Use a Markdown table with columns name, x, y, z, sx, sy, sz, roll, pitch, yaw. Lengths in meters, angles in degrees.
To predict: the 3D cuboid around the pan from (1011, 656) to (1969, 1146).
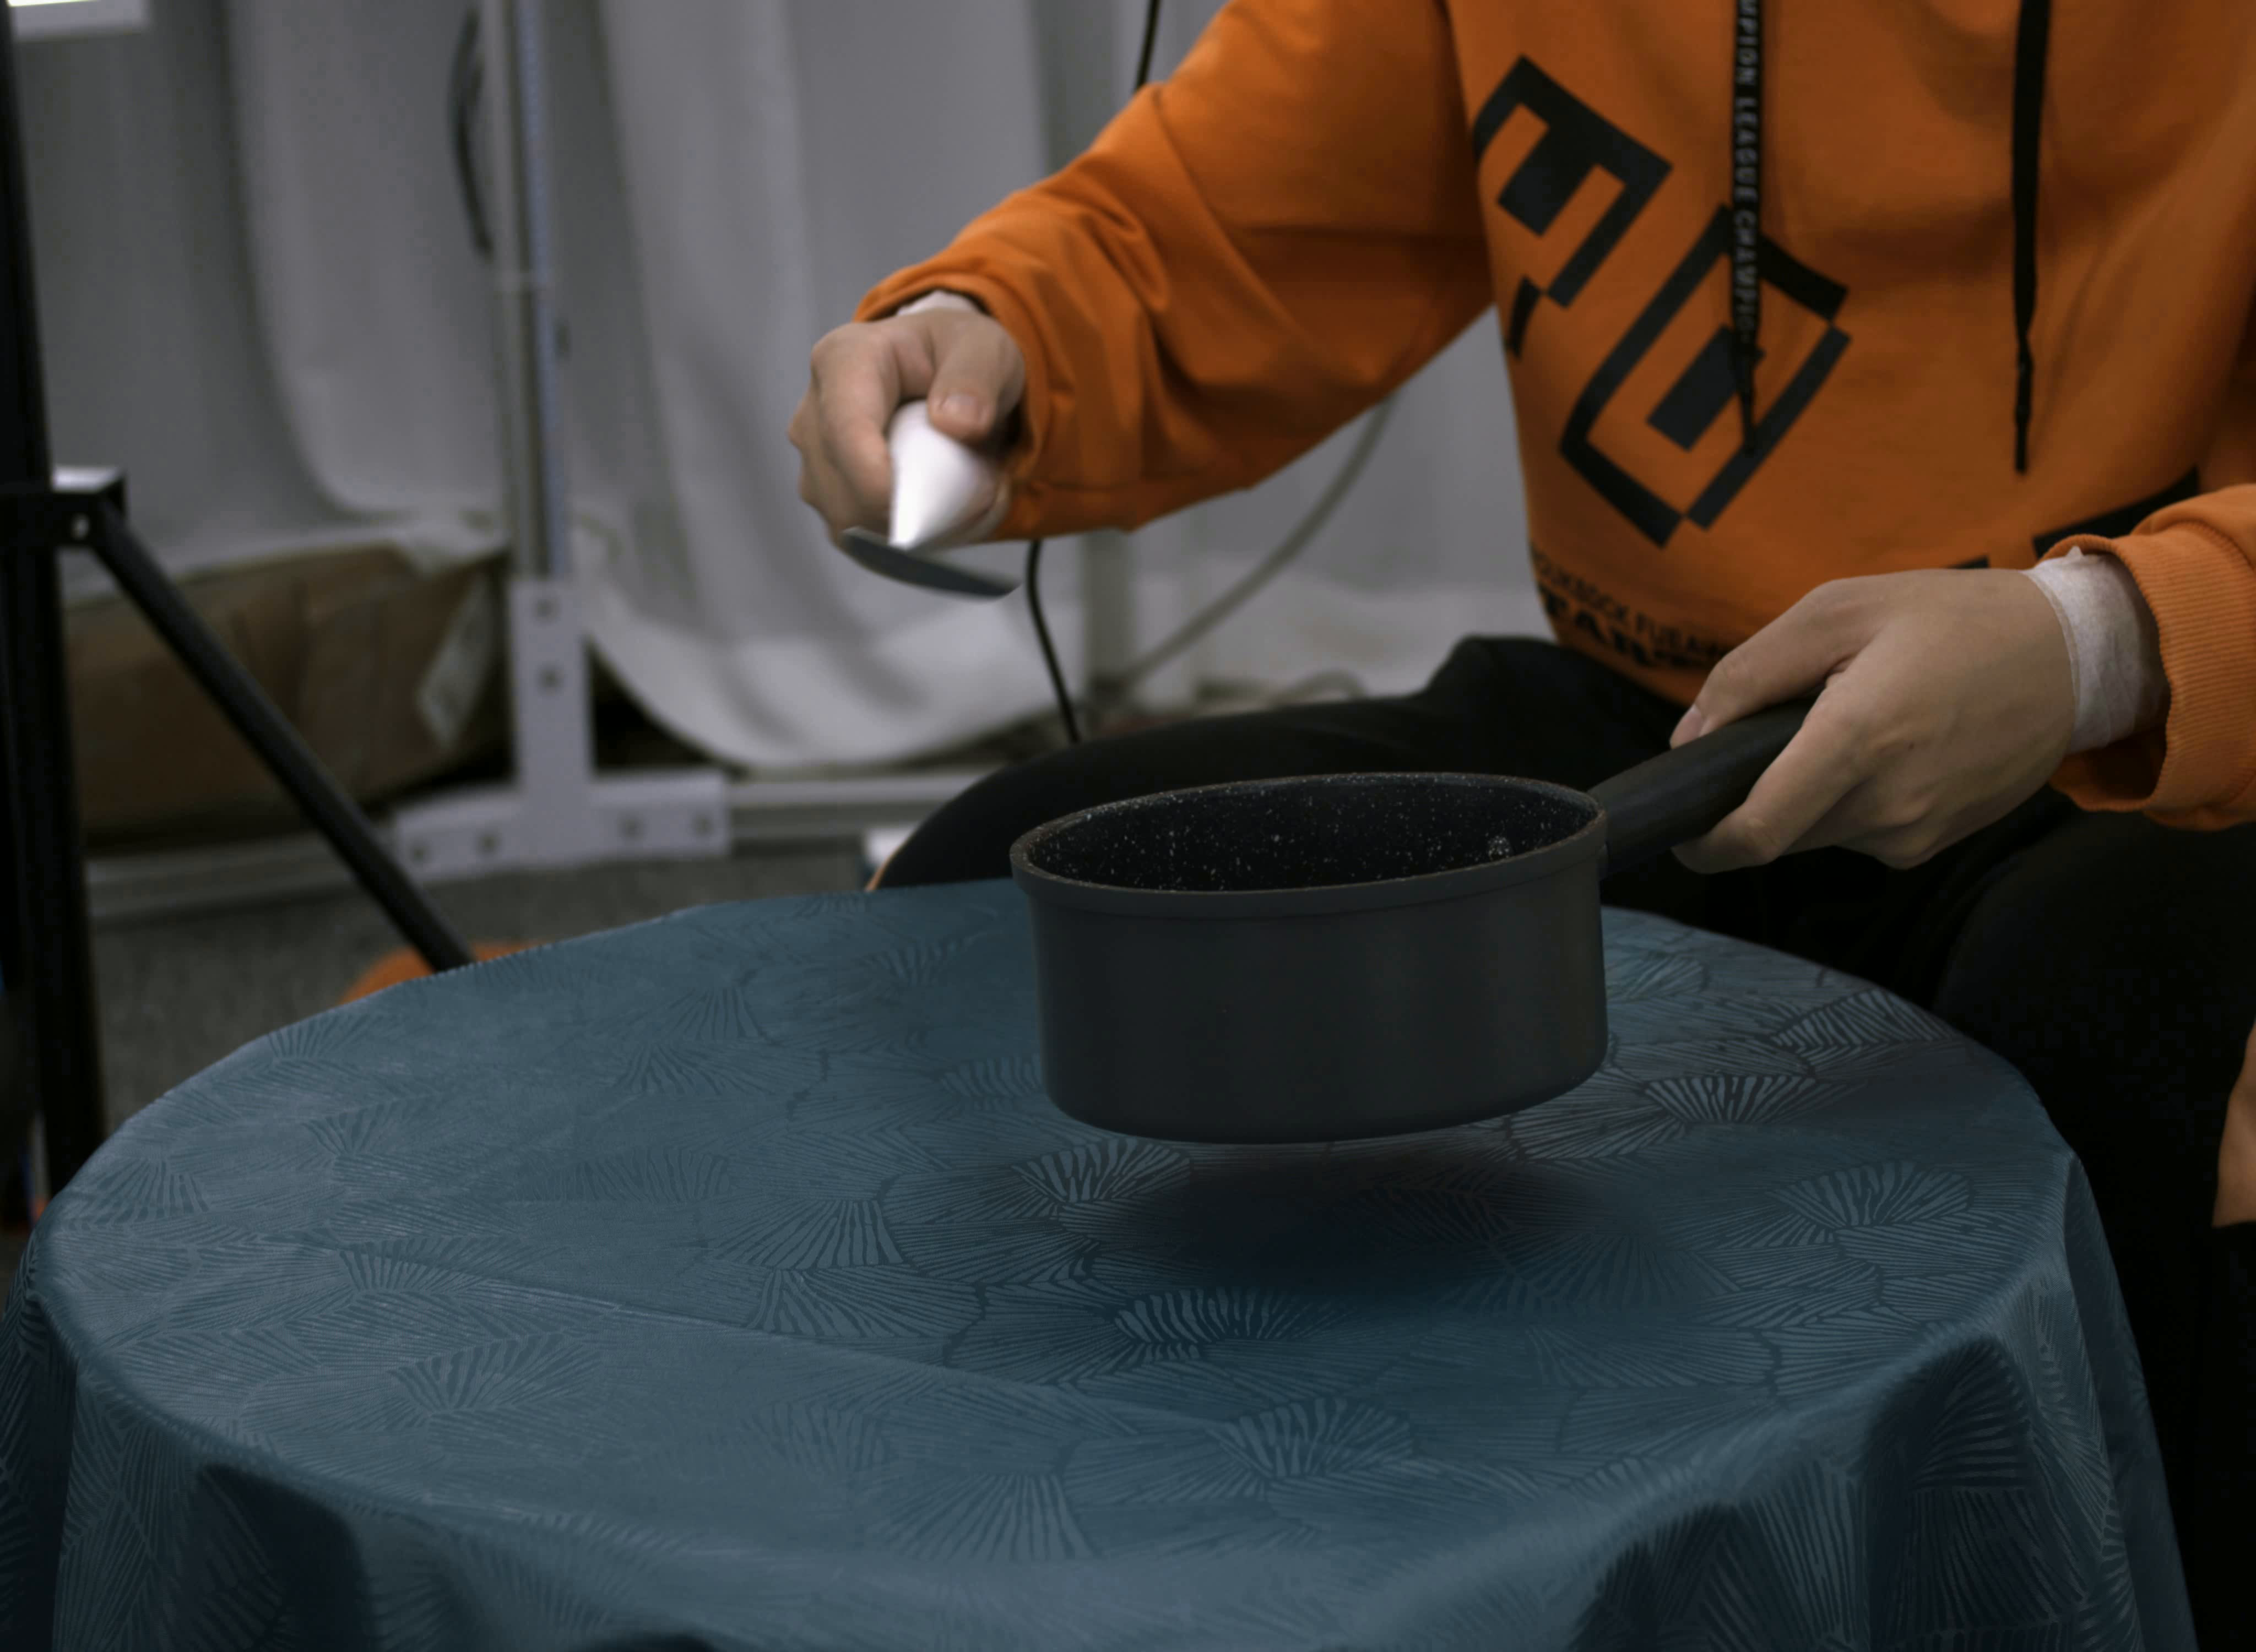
| name | x | y | z | sx | sy | sz | roll | pitch | yaw |
| --- | --- | --- | --- | --- | --- | --- | --- | --- | --- |
| pan | 0.118 | 0.021 | 1.557 | 0.321 | 0.086 | 0.176 | -13 | 14 | -31 |

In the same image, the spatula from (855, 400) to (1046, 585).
| name | x | y | z | sx | sy | sz | roll | pitch | yaw |
| --- | --- | --- | --- | --- | --- | --- | --- | --- | --- |
| spatula | -0.059 | -0.100 | 1.661 | 0.058 | 0.032 | 0.289 | 17 | 10 | -6 |
